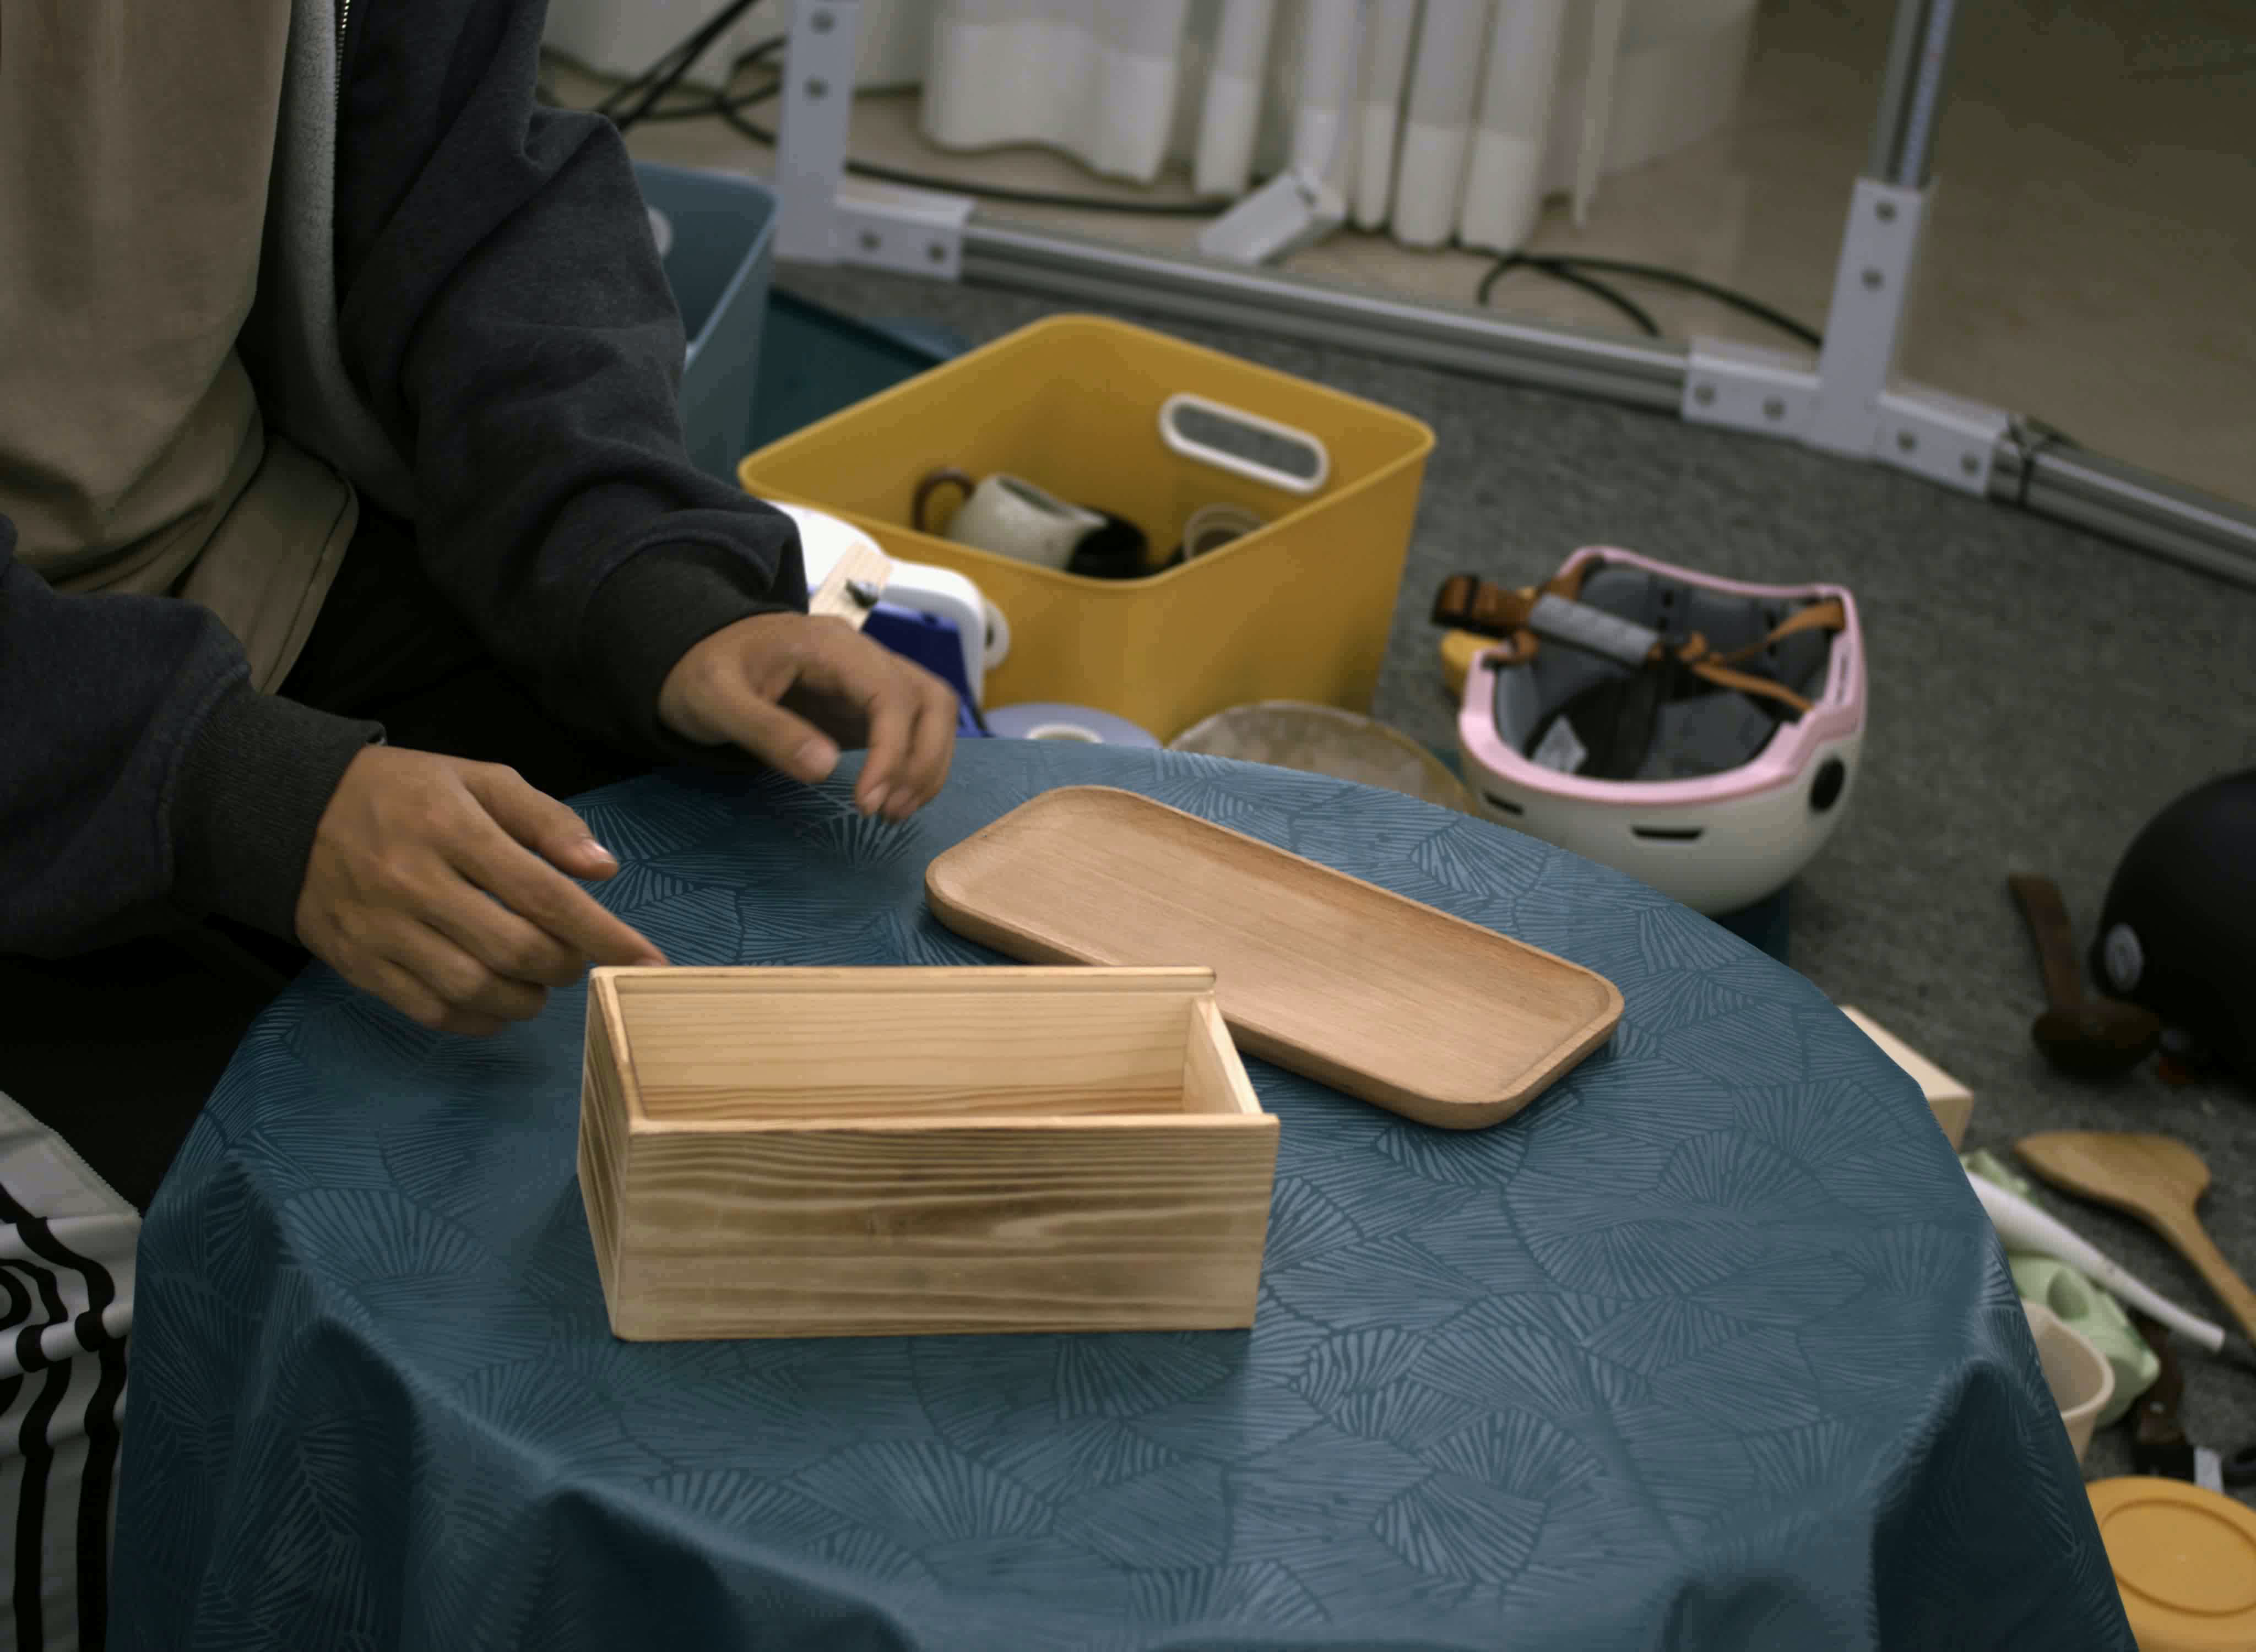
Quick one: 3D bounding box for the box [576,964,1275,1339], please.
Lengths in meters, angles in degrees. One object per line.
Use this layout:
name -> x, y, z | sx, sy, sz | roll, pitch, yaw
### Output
box -> -0.069, 0.105, 1.736 | 0.210, 0.080, 0.108 | 0, 27, -12

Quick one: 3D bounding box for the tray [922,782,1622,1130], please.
tray -> 0.051, 0.046, 1.946 | 0.252, 0.023, 0.130 | 21, 28, 27
